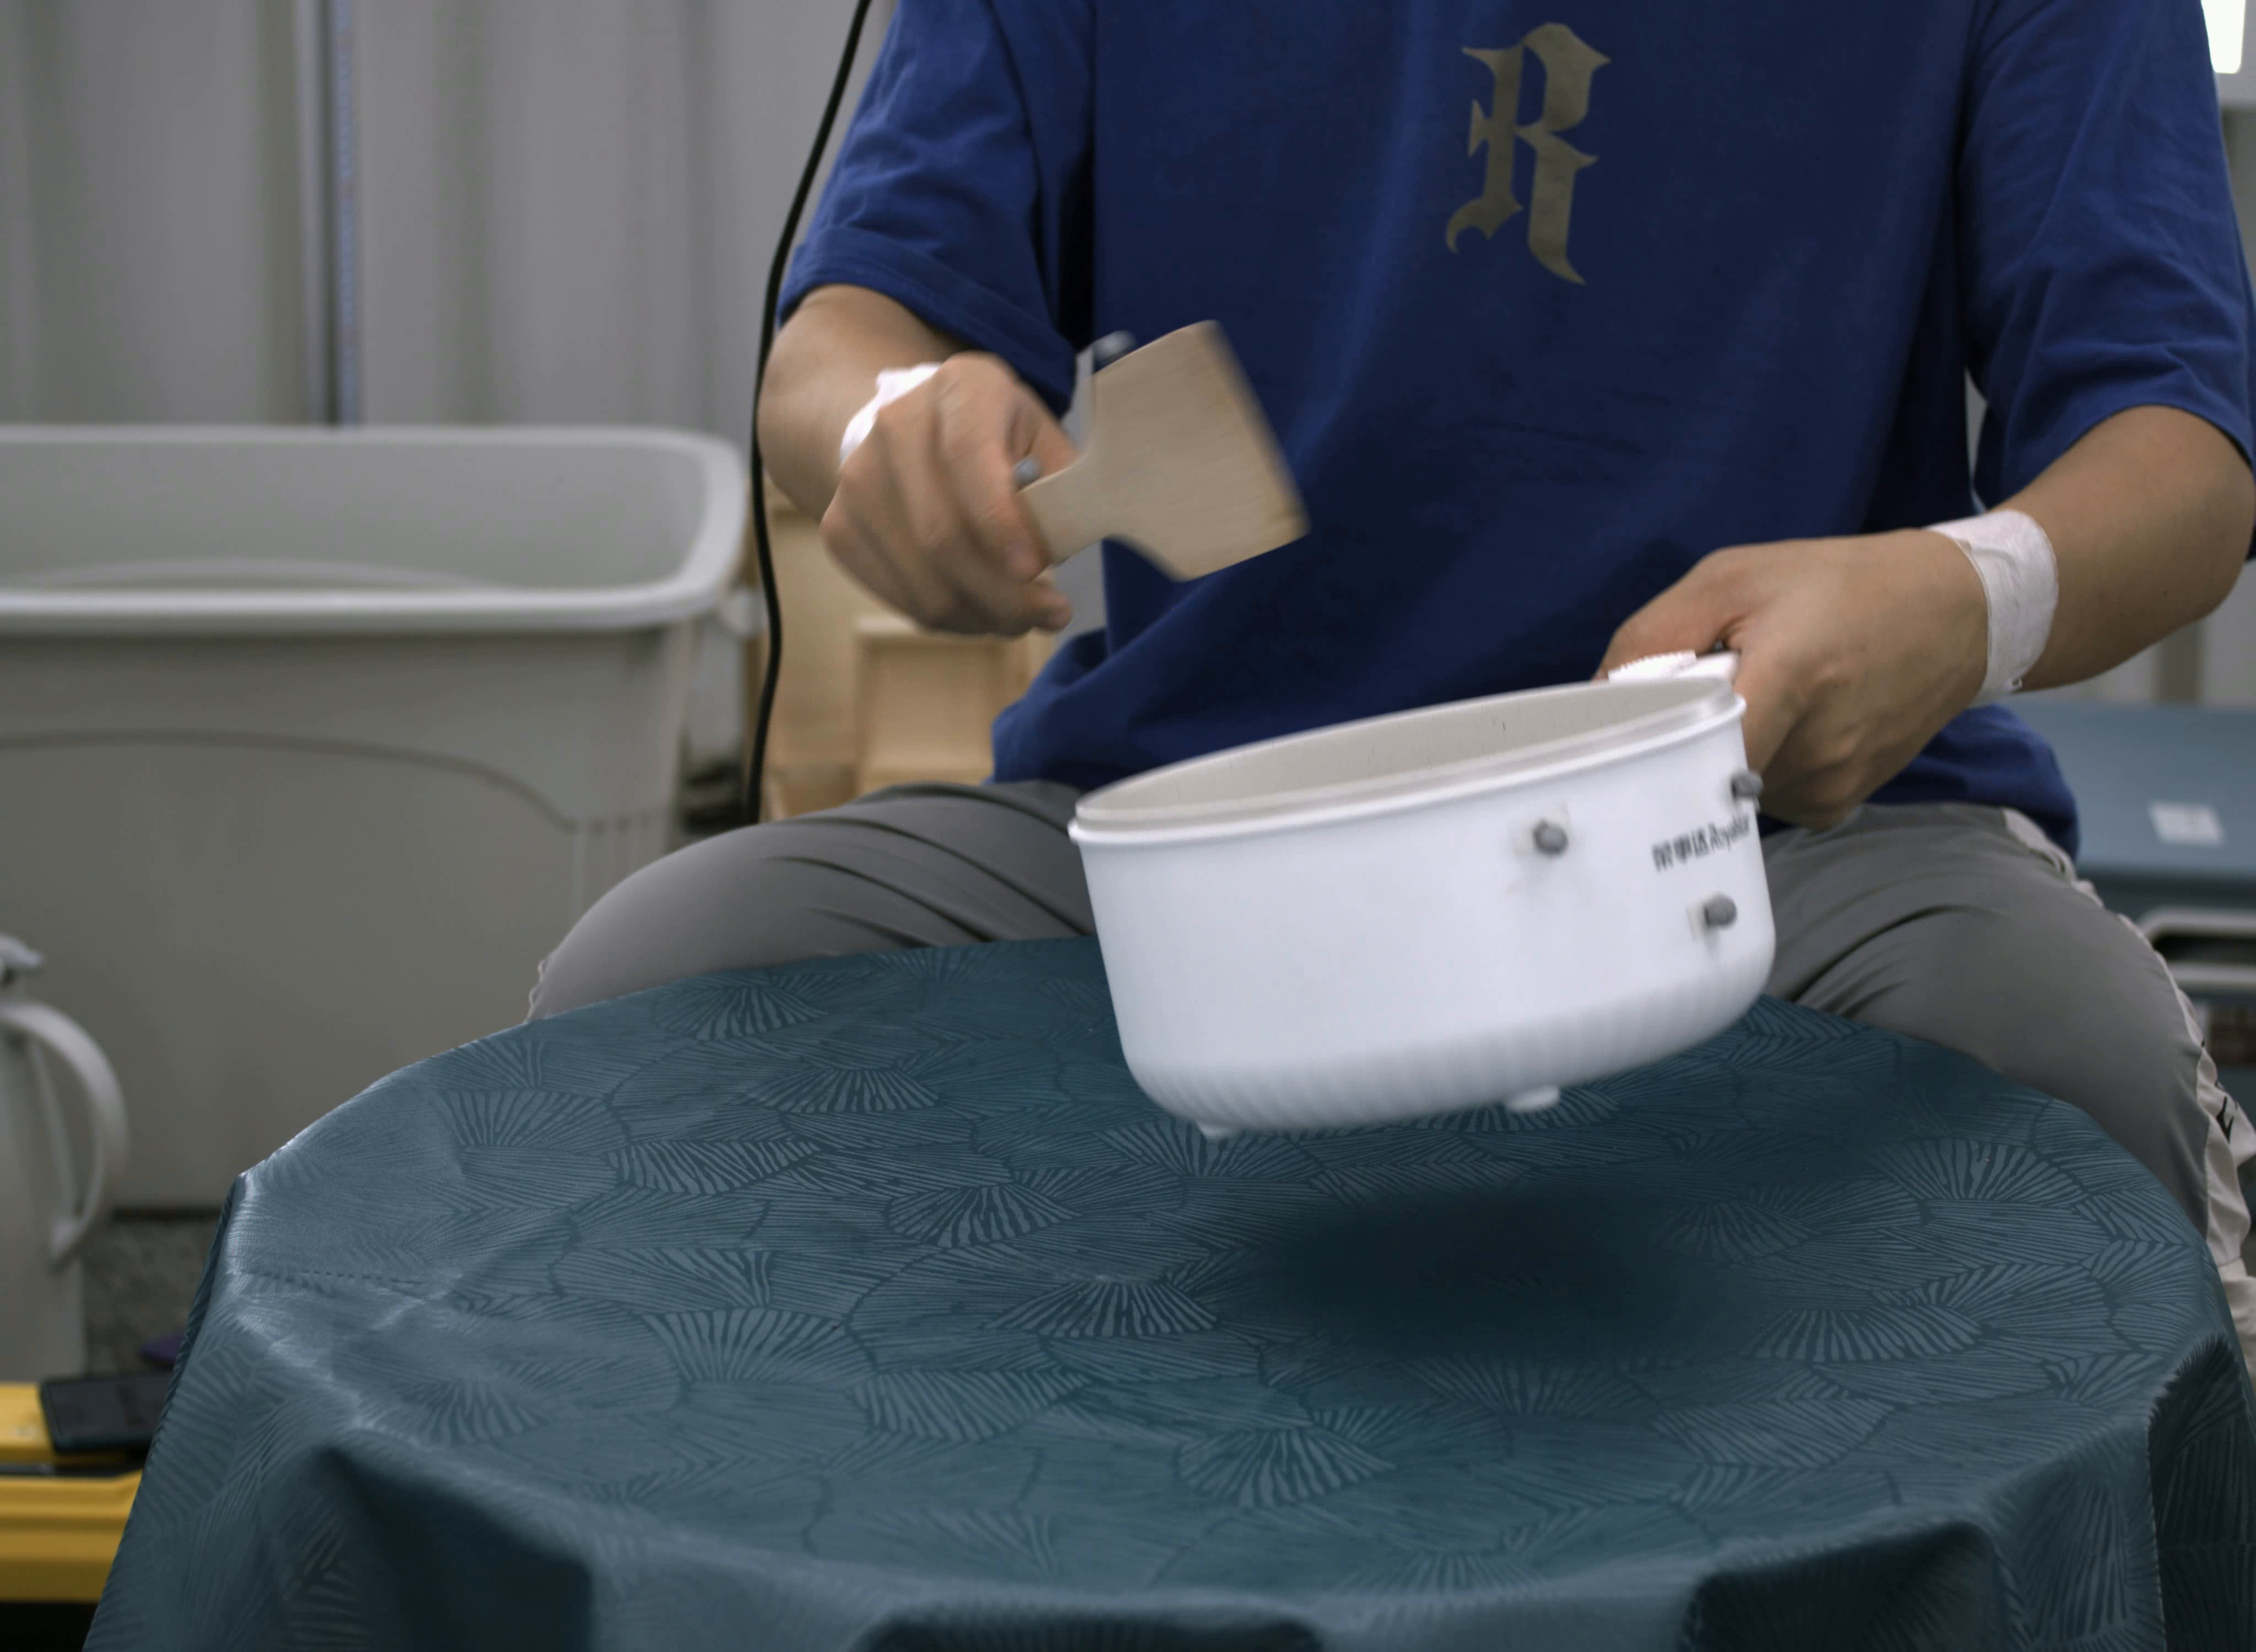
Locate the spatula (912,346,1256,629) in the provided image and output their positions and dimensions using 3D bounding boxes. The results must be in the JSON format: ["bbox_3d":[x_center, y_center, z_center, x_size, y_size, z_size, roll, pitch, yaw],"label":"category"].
[{"bbox_3d":[-0.025,-0.094,1.644,0.010,0.072,0.292,-30,4,-18],"label":"spatula"}]

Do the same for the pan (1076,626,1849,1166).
[{"bbox_3d":[0.132,0.016,1.600,0.199,0.102,0.356,-10,6,33],"label":"pan"}]
